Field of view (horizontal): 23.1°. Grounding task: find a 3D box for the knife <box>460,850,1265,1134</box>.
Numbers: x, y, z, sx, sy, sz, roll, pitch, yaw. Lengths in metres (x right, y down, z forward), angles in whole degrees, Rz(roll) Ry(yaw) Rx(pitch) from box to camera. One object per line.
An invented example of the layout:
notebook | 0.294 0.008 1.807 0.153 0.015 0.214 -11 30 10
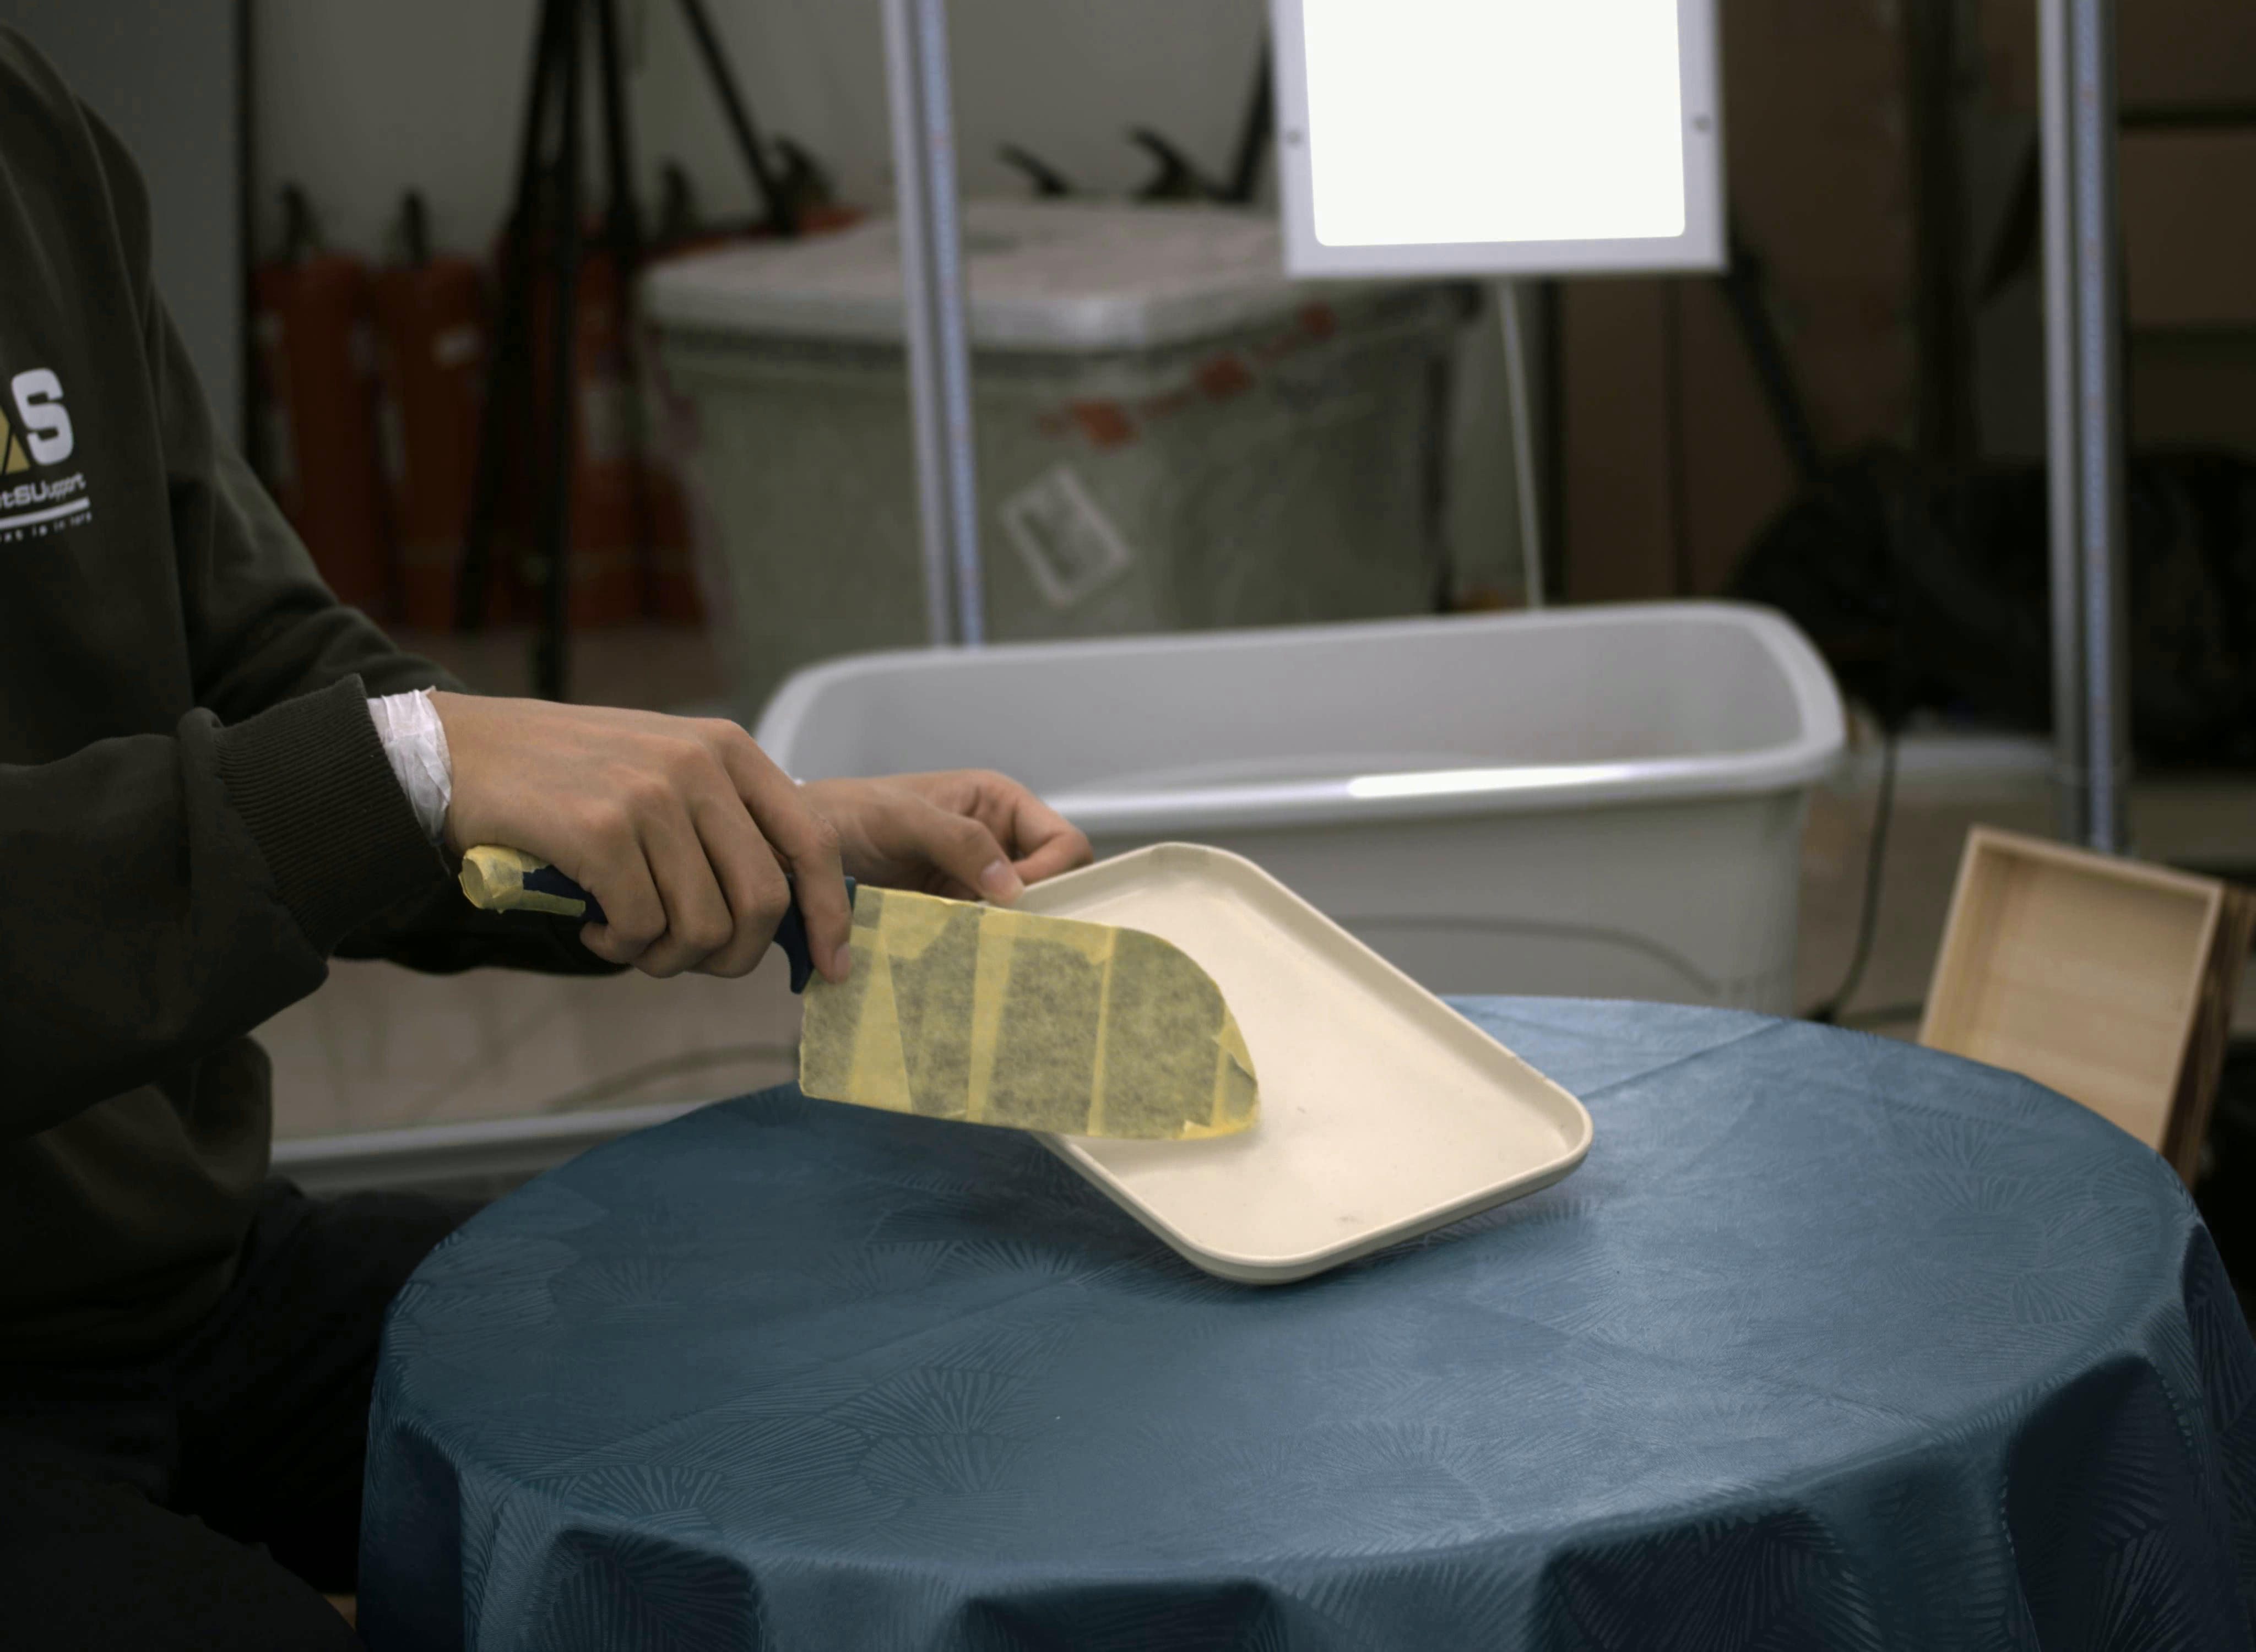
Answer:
knife | -0.083 0.055 1.808 0.284 0.081 0.028 12 -14 -20

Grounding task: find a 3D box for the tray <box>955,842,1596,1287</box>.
tray | 0.032 0.080 1.896 0.167 0.017 0.243 -18 37 -31
